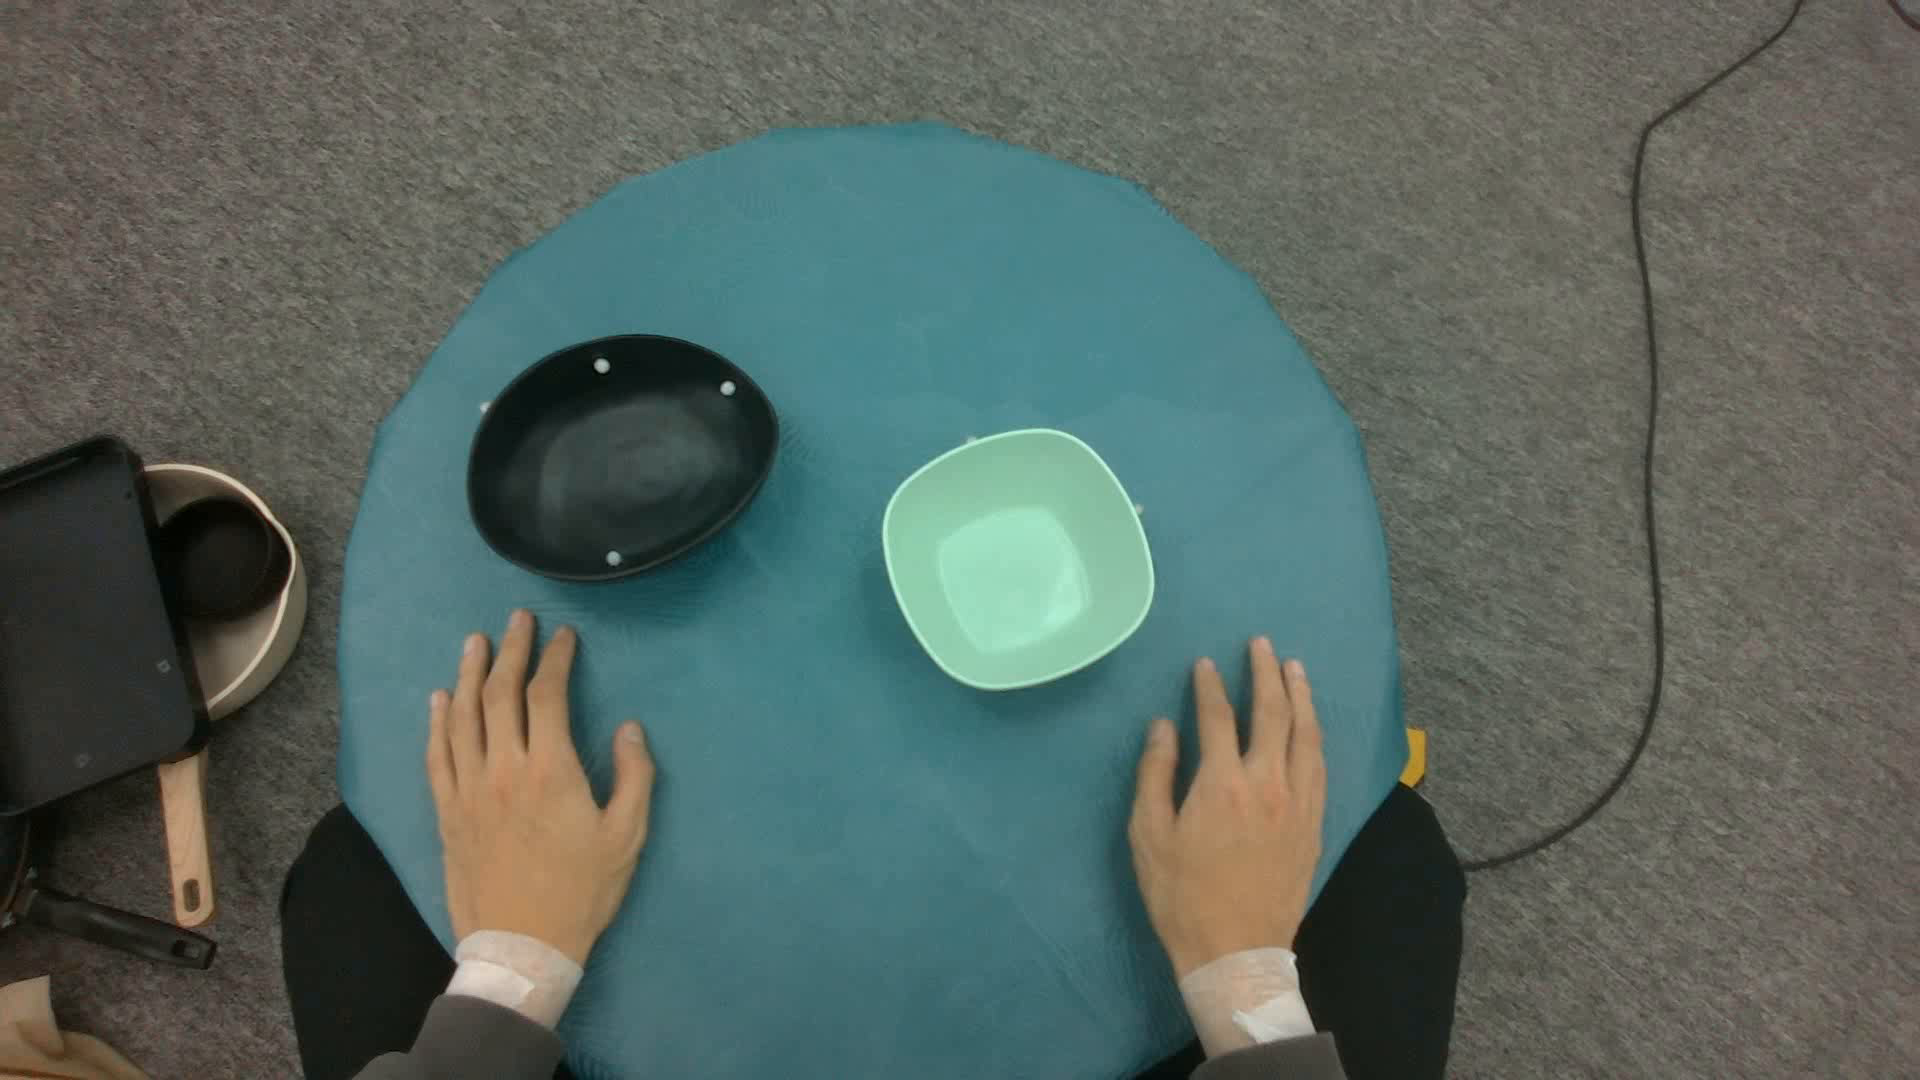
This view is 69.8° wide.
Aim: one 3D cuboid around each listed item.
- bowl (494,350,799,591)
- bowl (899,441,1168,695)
[{"bbox_3d":[-0.175,-0.035,0.787,0.170,0.066,0.137,-23,74,-9],"label":"bowl"},{"bbox_3d":[0.039,0.022,0.773,0.151,0.058,0.152,0,69,0],"label":"bowl"}]
